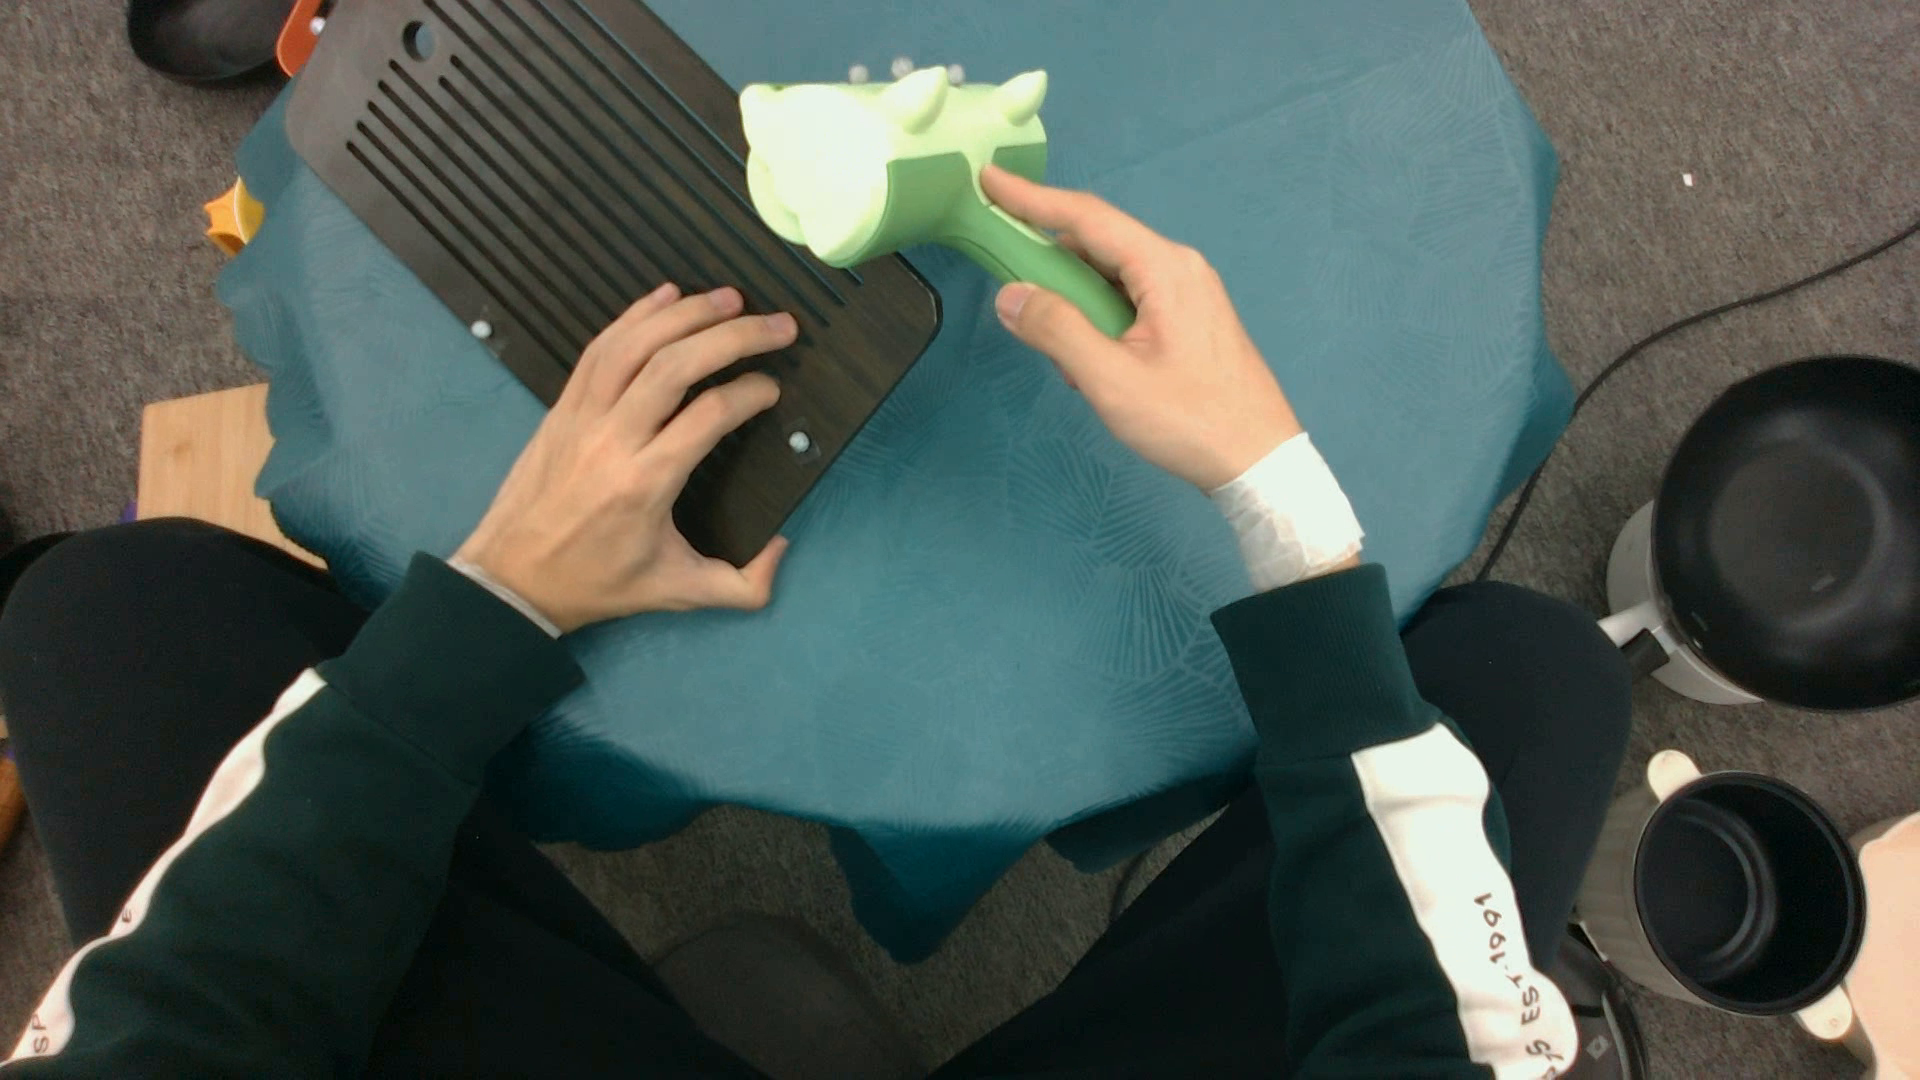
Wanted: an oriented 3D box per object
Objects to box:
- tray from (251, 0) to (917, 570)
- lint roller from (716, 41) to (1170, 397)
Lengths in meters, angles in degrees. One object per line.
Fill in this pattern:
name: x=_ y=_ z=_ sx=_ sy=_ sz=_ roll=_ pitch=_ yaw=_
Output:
tray: x=-0.170 y=-0.143 z=0.595 sx=0.306 sy=0.019 sz=0.169 roll=44 pitch=115 yaw=5
lint roller: x=0.021 y=-0.135 z=0.543 sx=0.183 sy=0.199 sz=0.082 roll=34 pitch=116 yaw=7
